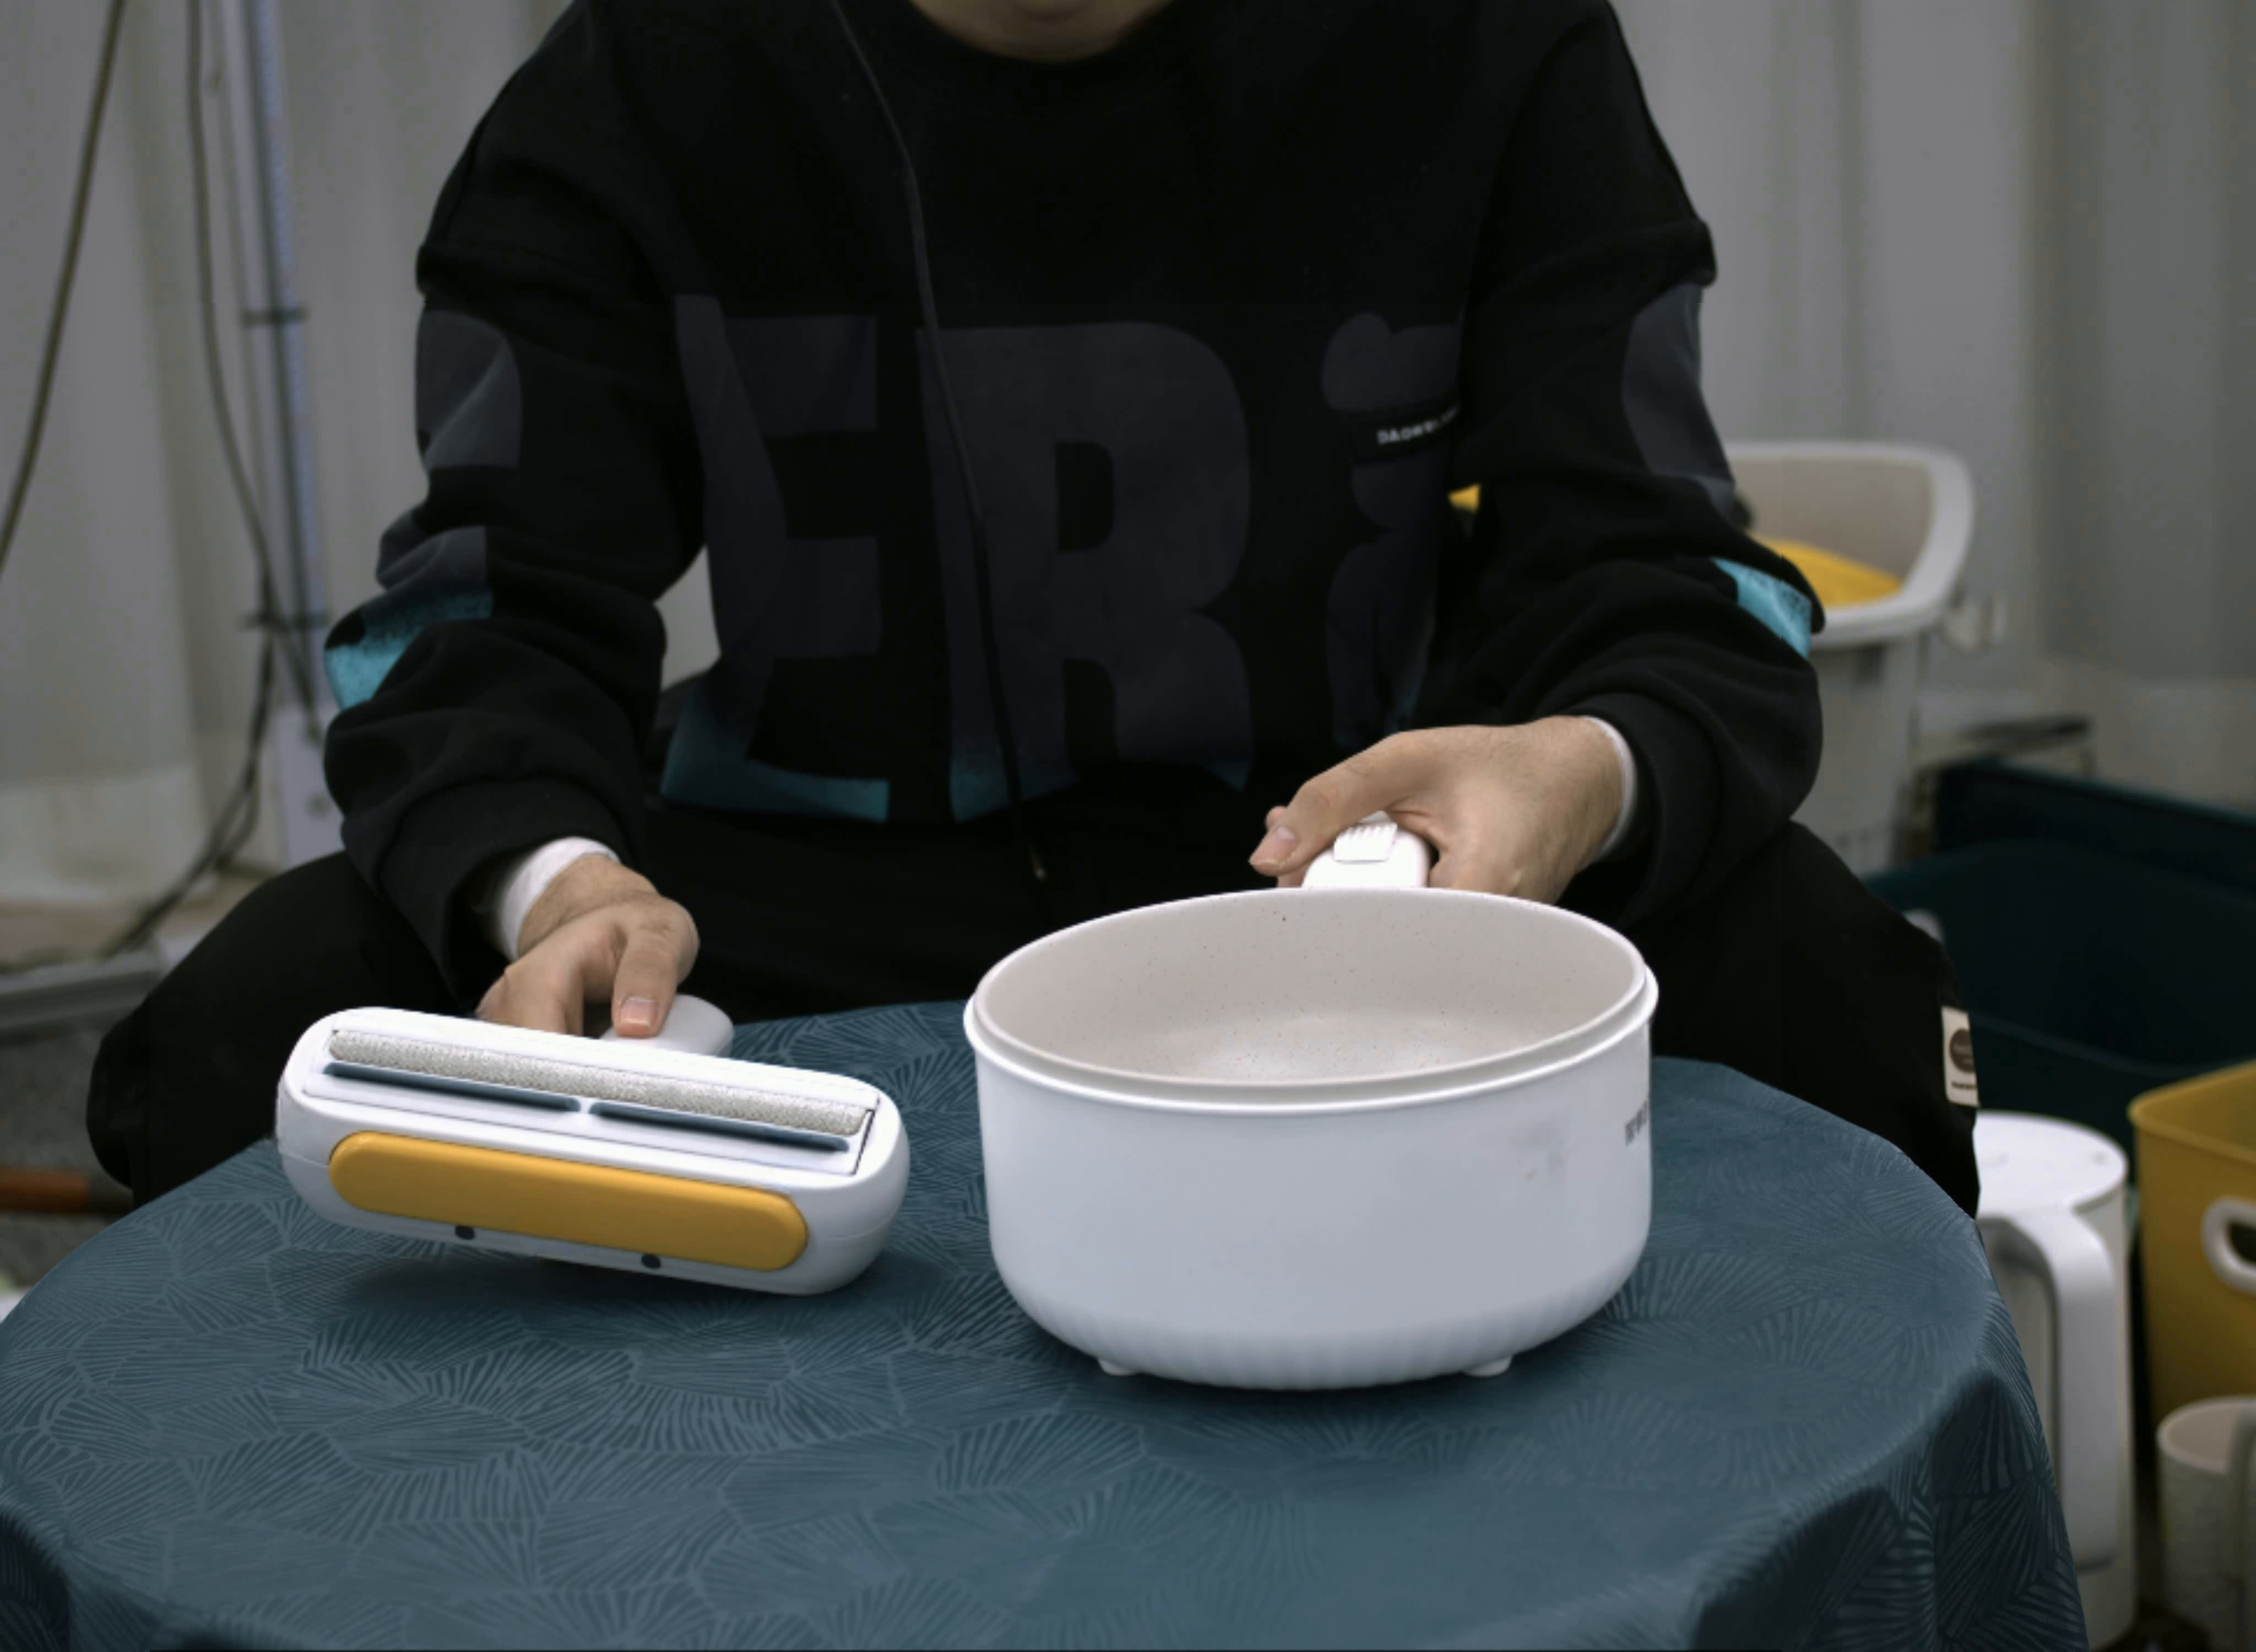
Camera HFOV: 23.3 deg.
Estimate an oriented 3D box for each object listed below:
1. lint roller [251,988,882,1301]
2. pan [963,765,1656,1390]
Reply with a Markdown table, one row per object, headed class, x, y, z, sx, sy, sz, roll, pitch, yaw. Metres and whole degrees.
| class | x | y | z | sx | sy | sz | roll | pitch | yaw |
| --- | --- | --- | --- | --- | --- | --- | --- | --- | --- |
| lint roller | -0.158 | 0.082 | 1.709 | 0.192 | 0.073 | 0.194 | 5 | 23 | 11 |
| pan | 0.065 | 0.072 | 1.665 | 0.201 | 0.101 | 0.357 | -1 | 15 | 9 |
